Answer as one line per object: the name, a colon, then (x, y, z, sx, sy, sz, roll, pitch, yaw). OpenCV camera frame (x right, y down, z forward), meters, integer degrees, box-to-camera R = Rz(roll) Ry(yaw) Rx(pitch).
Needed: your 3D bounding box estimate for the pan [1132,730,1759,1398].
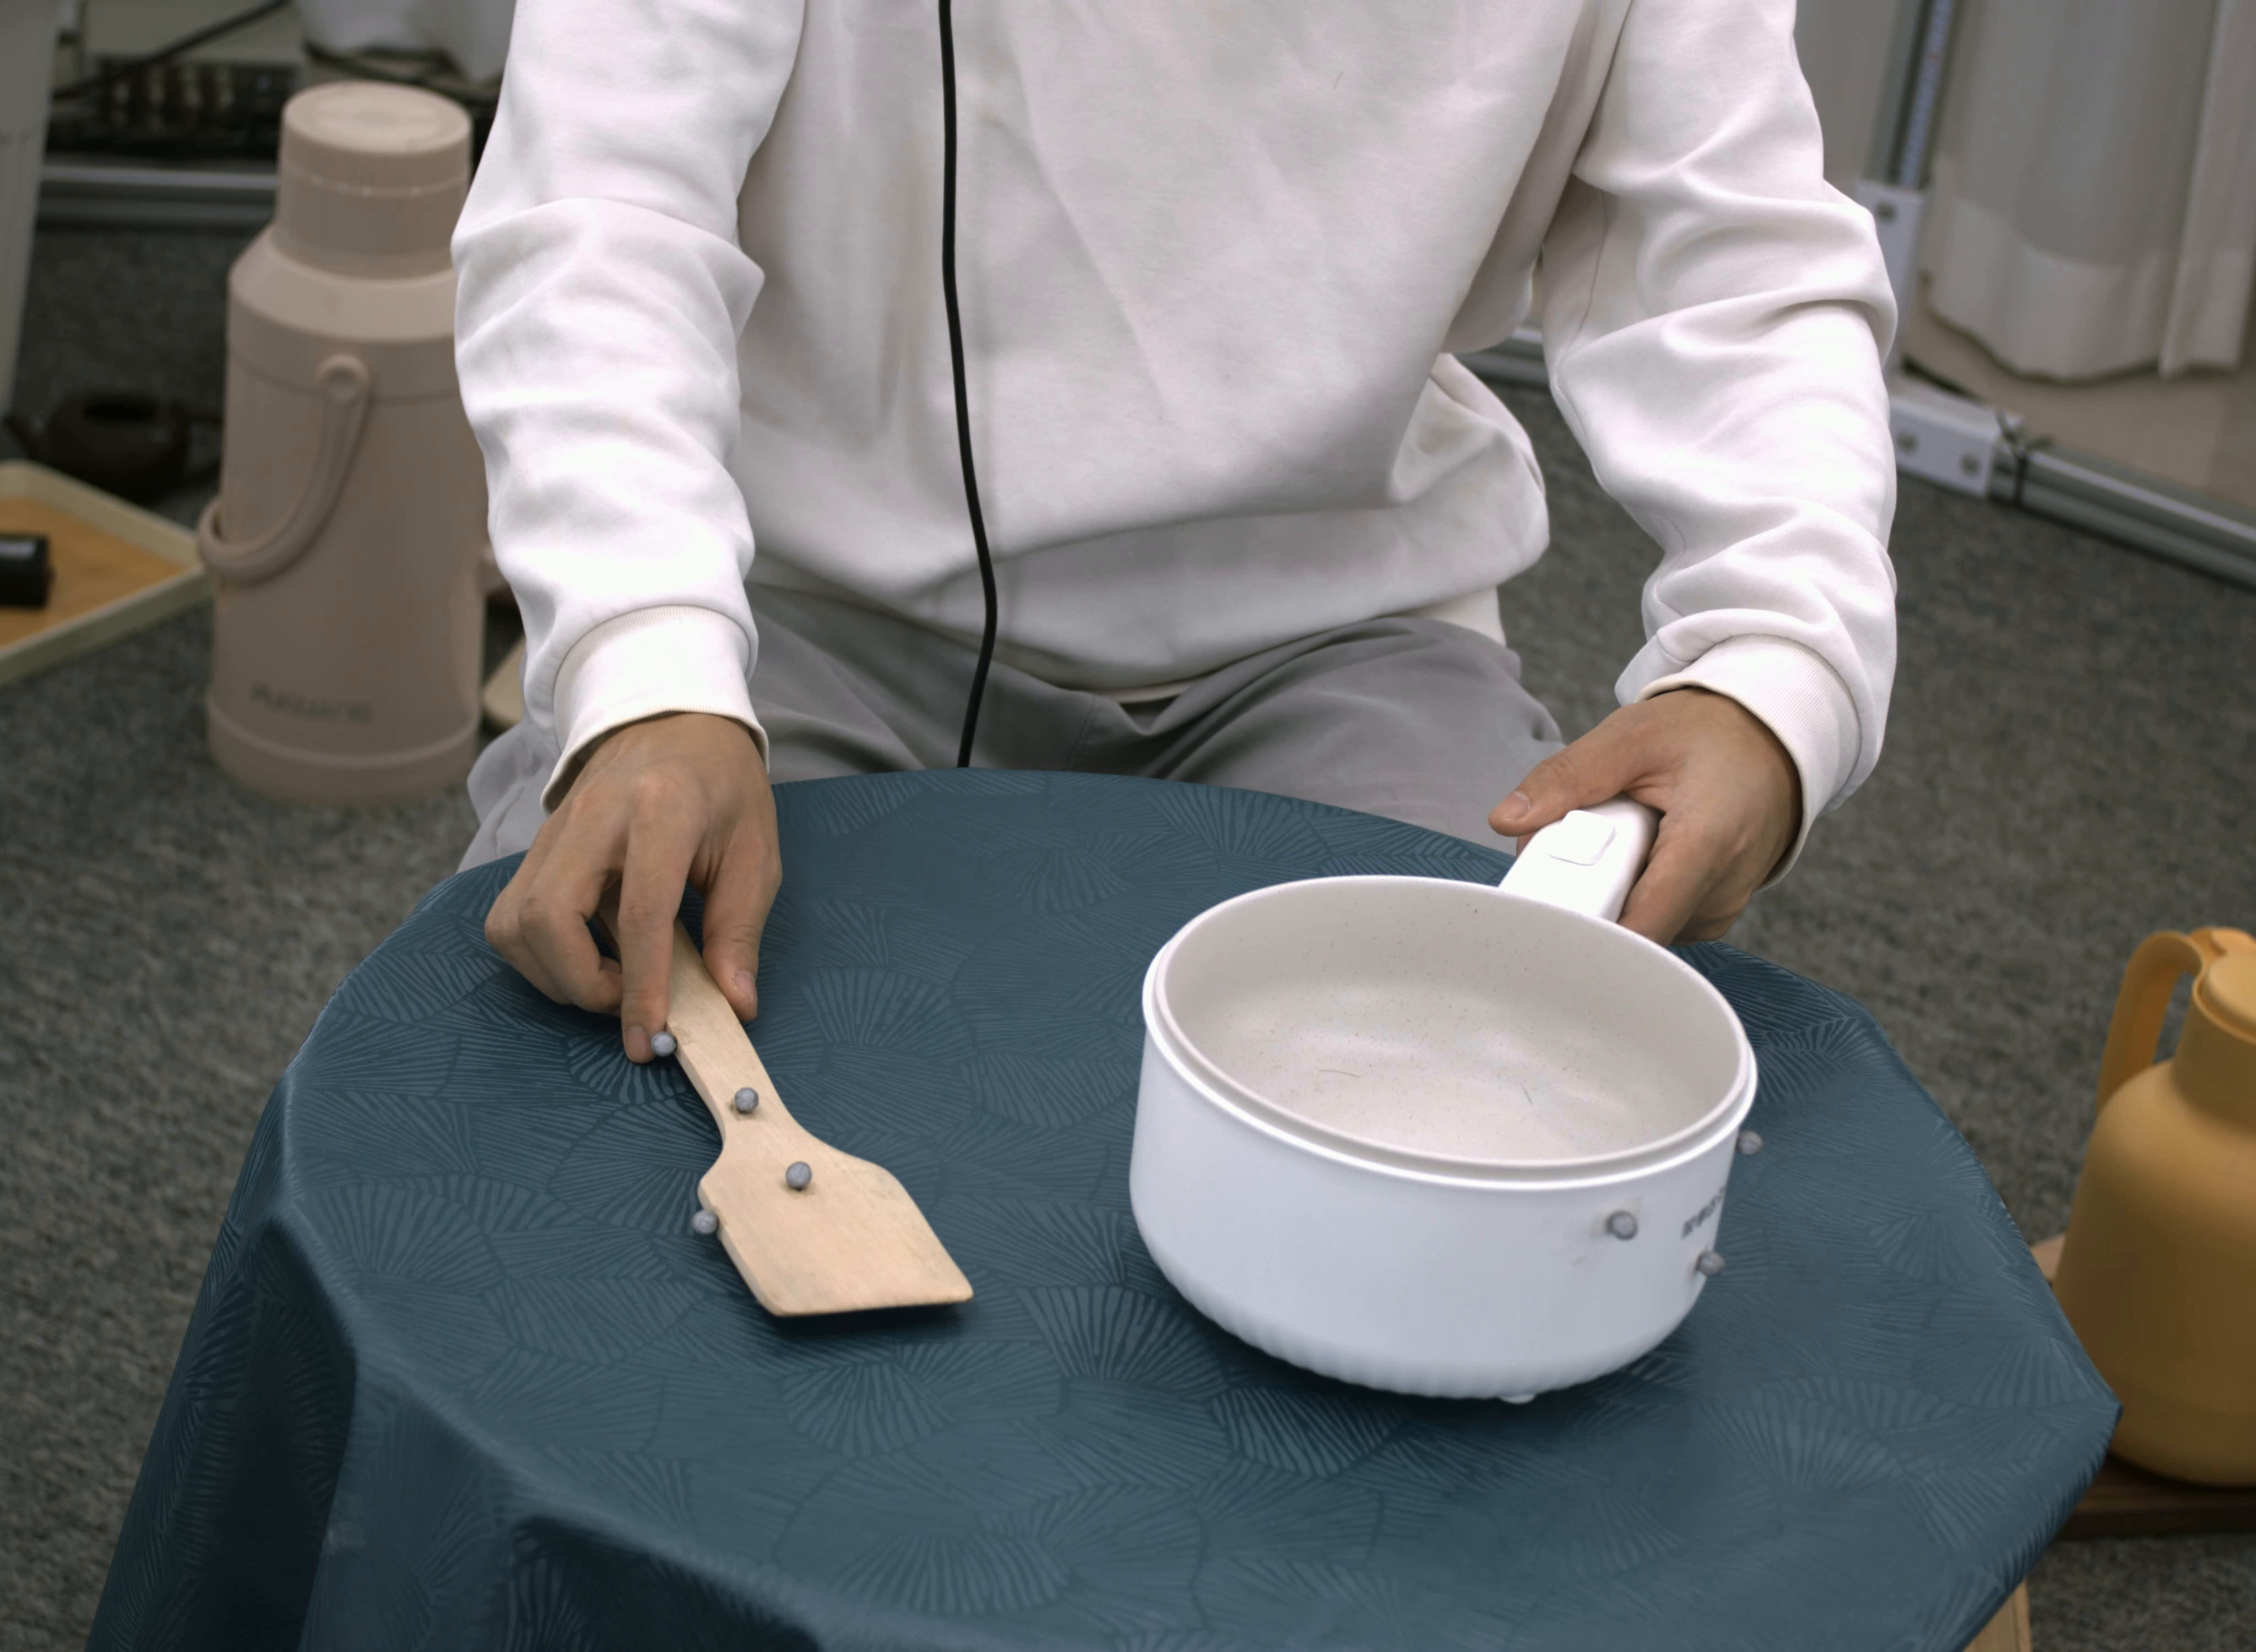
pan: (0.126, 0.075, 1.811, 0.201, 0.102, 0.355, 15, 26, 15)

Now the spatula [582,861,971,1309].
spatula: (-0.136, 0.085, 1.824, 0.072, 0.010, 0.296, -3, 30, -23)
